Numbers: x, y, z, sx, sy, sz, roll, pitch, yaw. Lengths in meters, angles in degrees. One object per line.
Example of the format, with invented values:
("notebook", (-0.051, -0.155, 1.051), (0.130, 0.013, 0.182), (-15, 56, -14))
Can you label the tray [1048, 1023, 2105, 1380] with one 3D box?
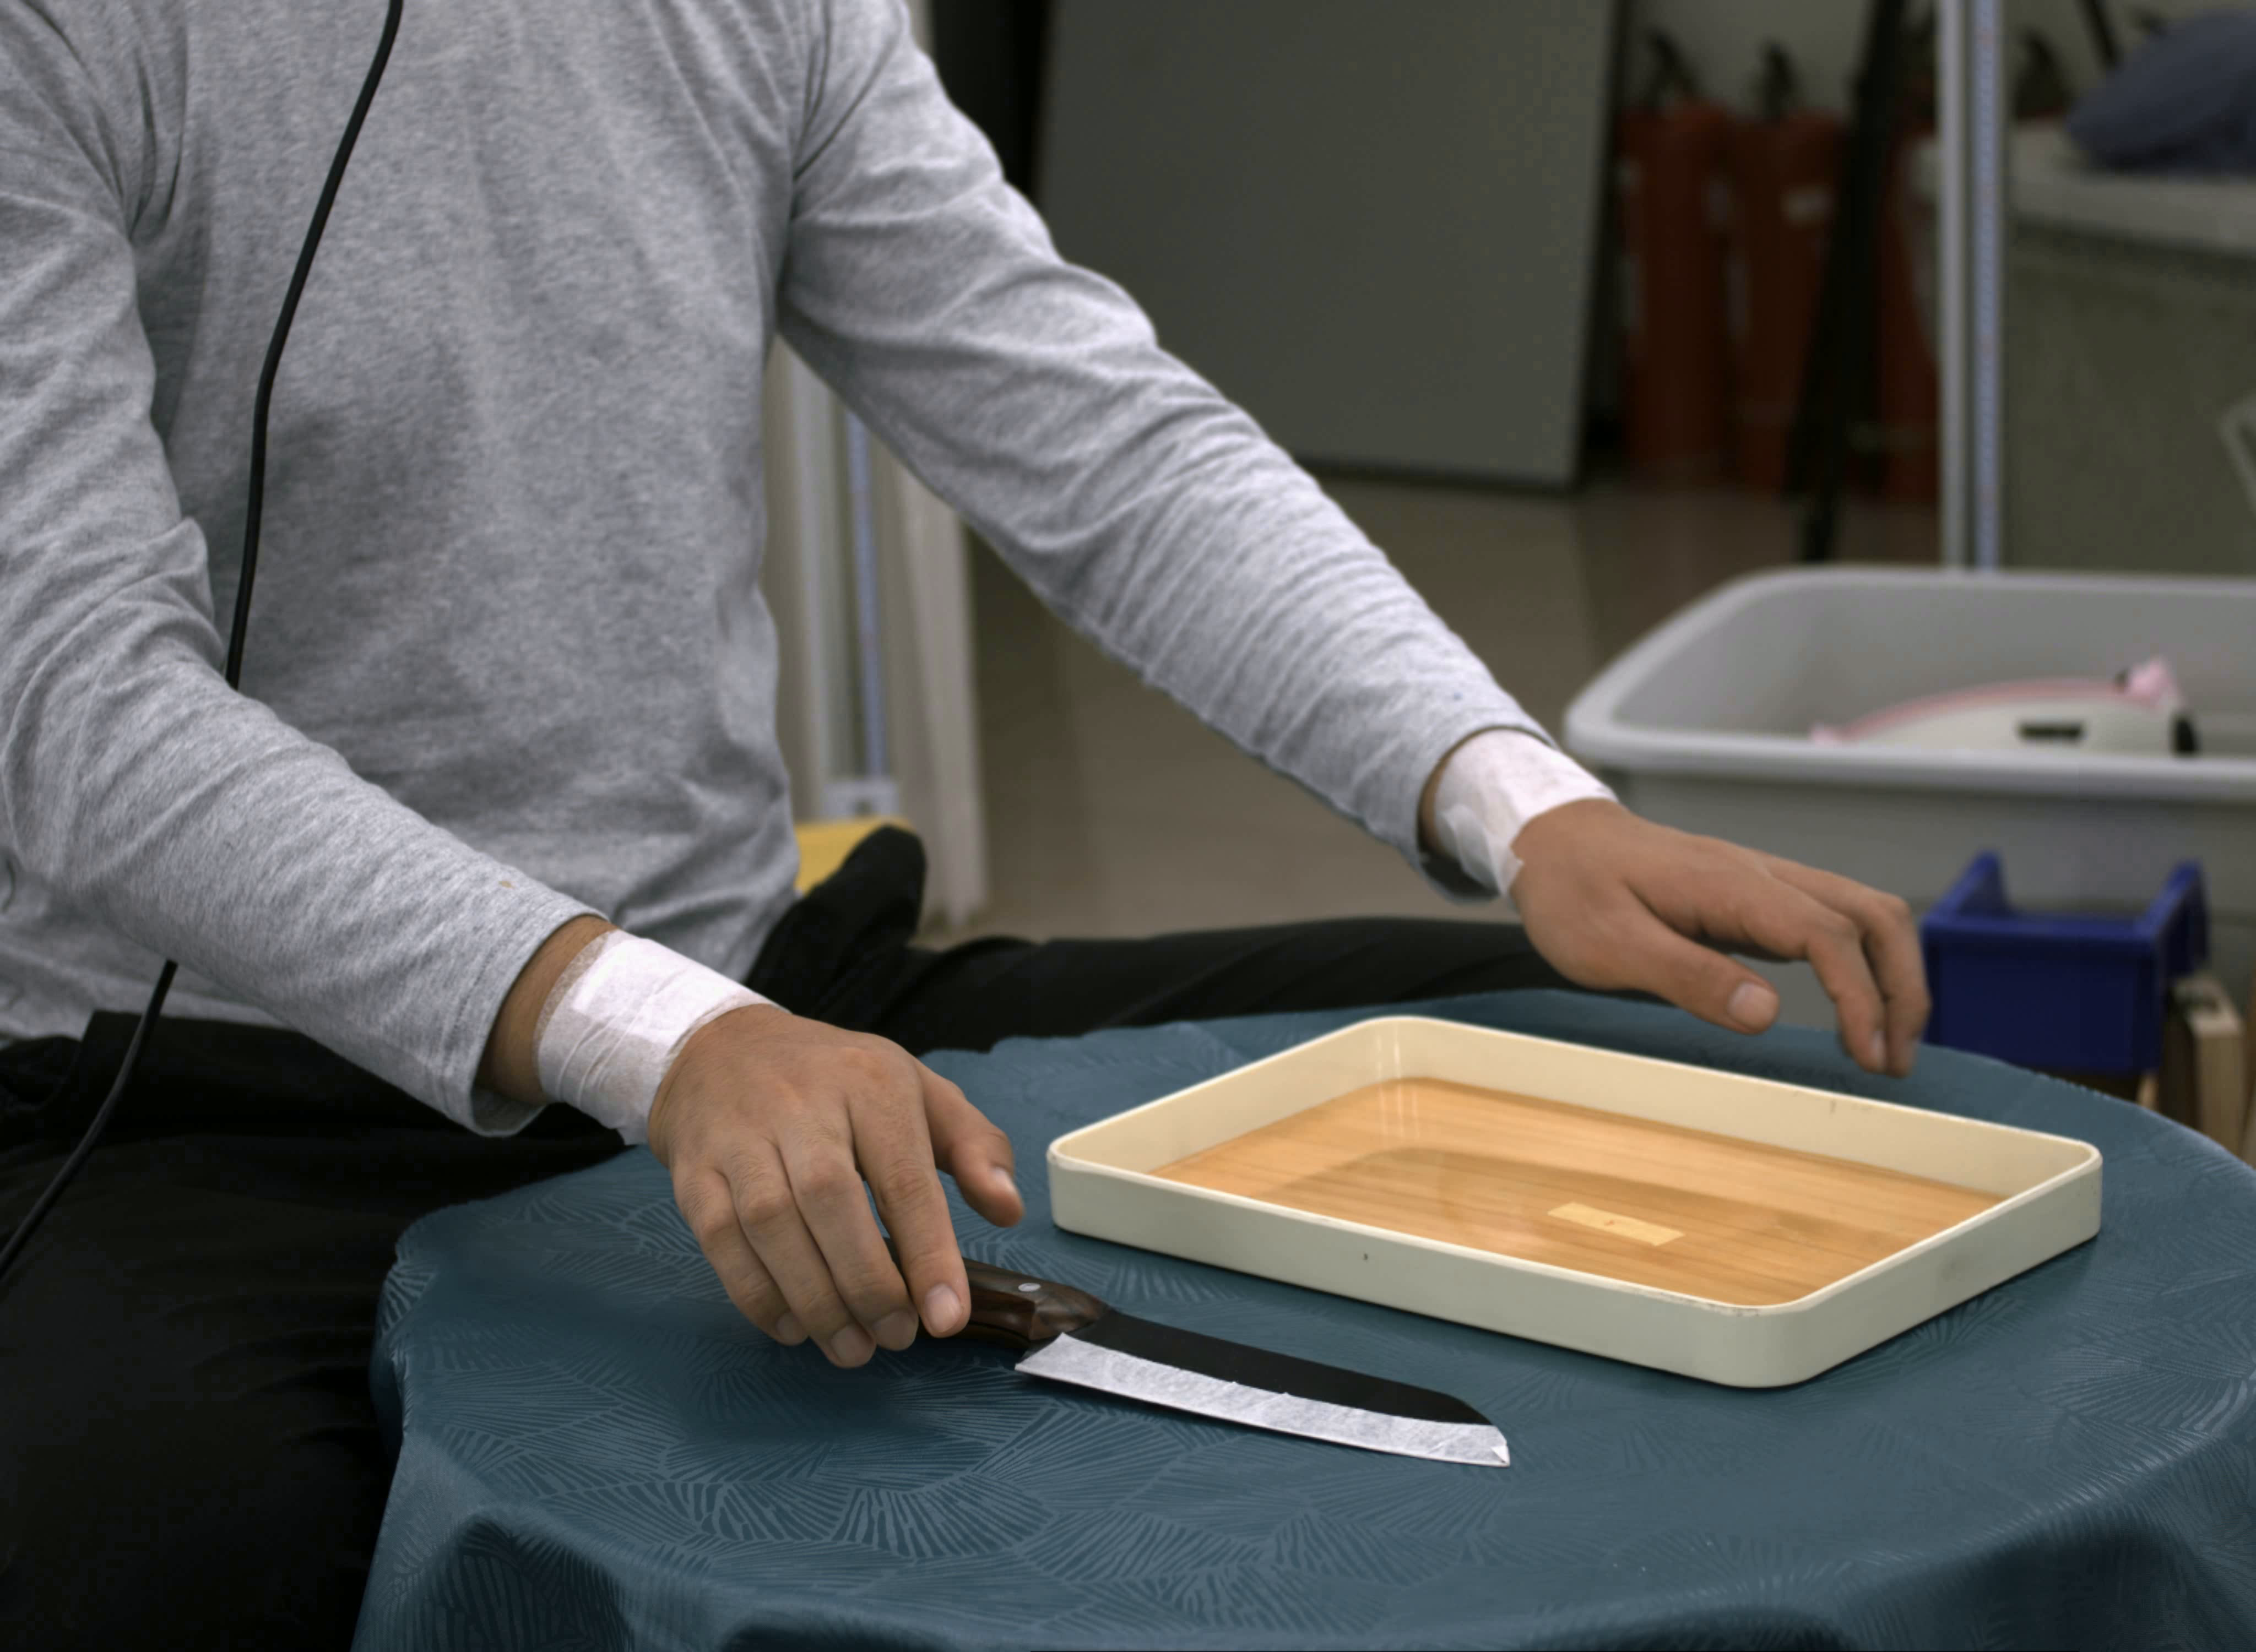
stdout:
("tray", (0.139, 0.115, 1.704), (0.303, 0.028, 0.188), (8, 18, 43))

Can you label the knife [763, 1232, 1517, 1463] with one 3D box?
("knife", (-0.001, 0.156, 1.599), (0.291, 0.020, 0.049), (10, 25, 39))
